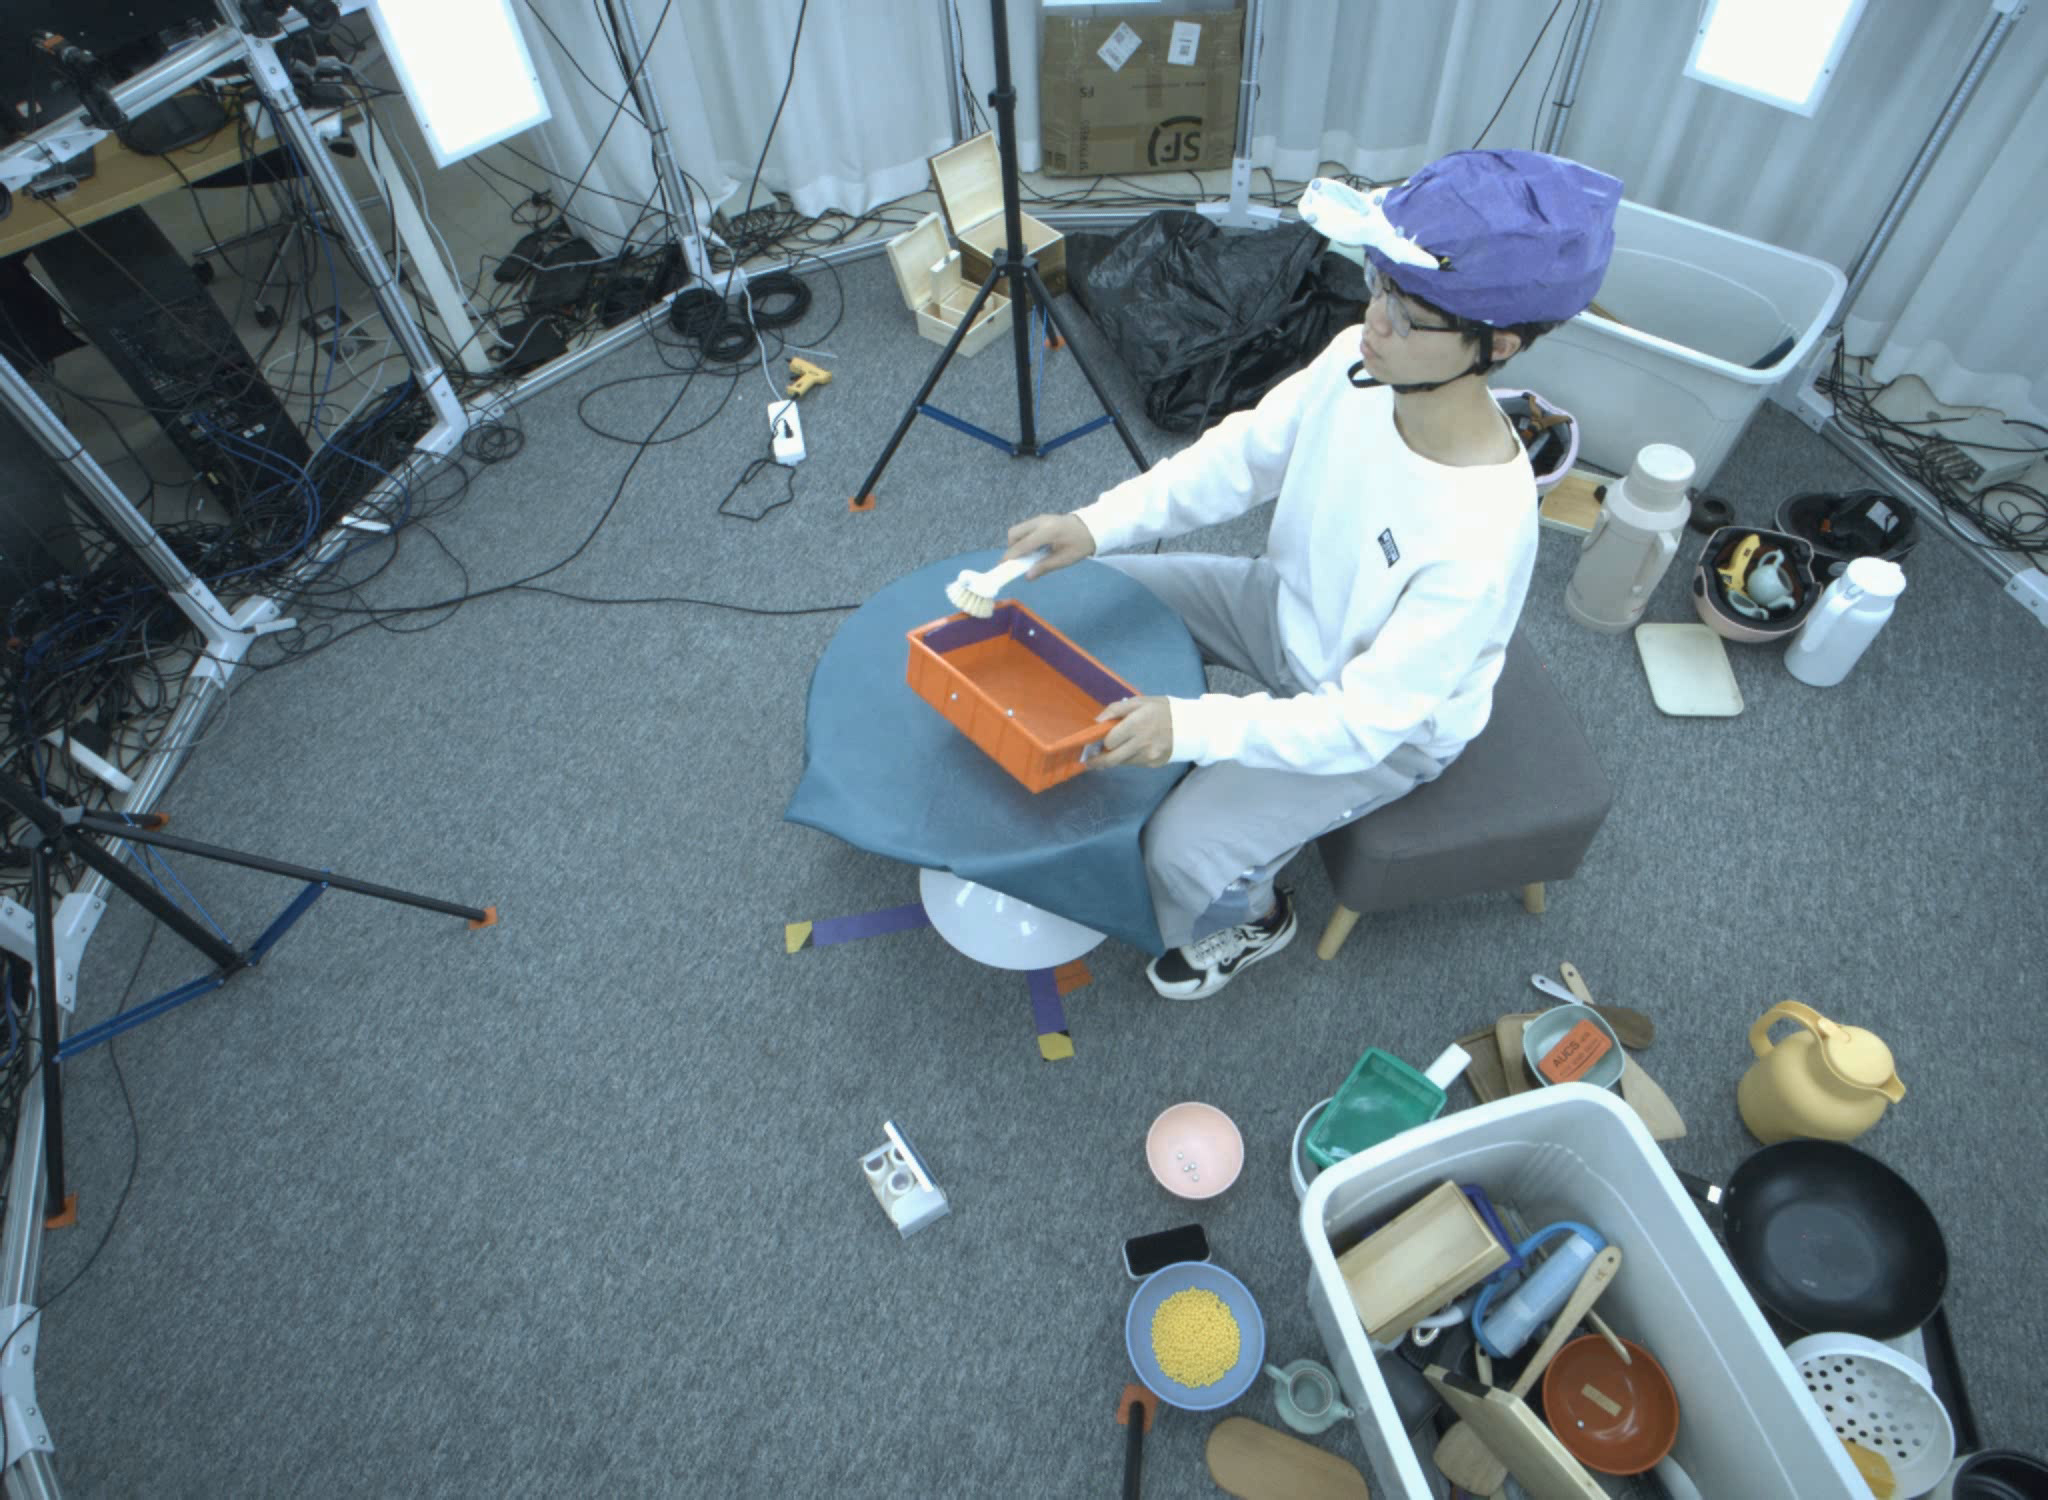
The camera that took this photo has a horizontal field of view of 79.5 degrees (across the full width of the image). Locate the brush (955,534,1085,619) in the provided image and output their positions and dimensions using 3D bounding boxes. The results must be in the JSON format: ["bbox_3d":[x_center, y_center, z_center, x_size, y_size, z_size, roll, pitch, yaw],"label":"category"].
[{"bbox_3d":[-0.001,-0.259,1.799,0.068,0.056,0.270,50,44,7],"label":"brush"}]

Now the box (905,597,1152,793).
[{"bbox_3d":[-0.002,-0.079,1.693,0.210,0.097,0.298,-23,54,-39],"label":"box"}]
